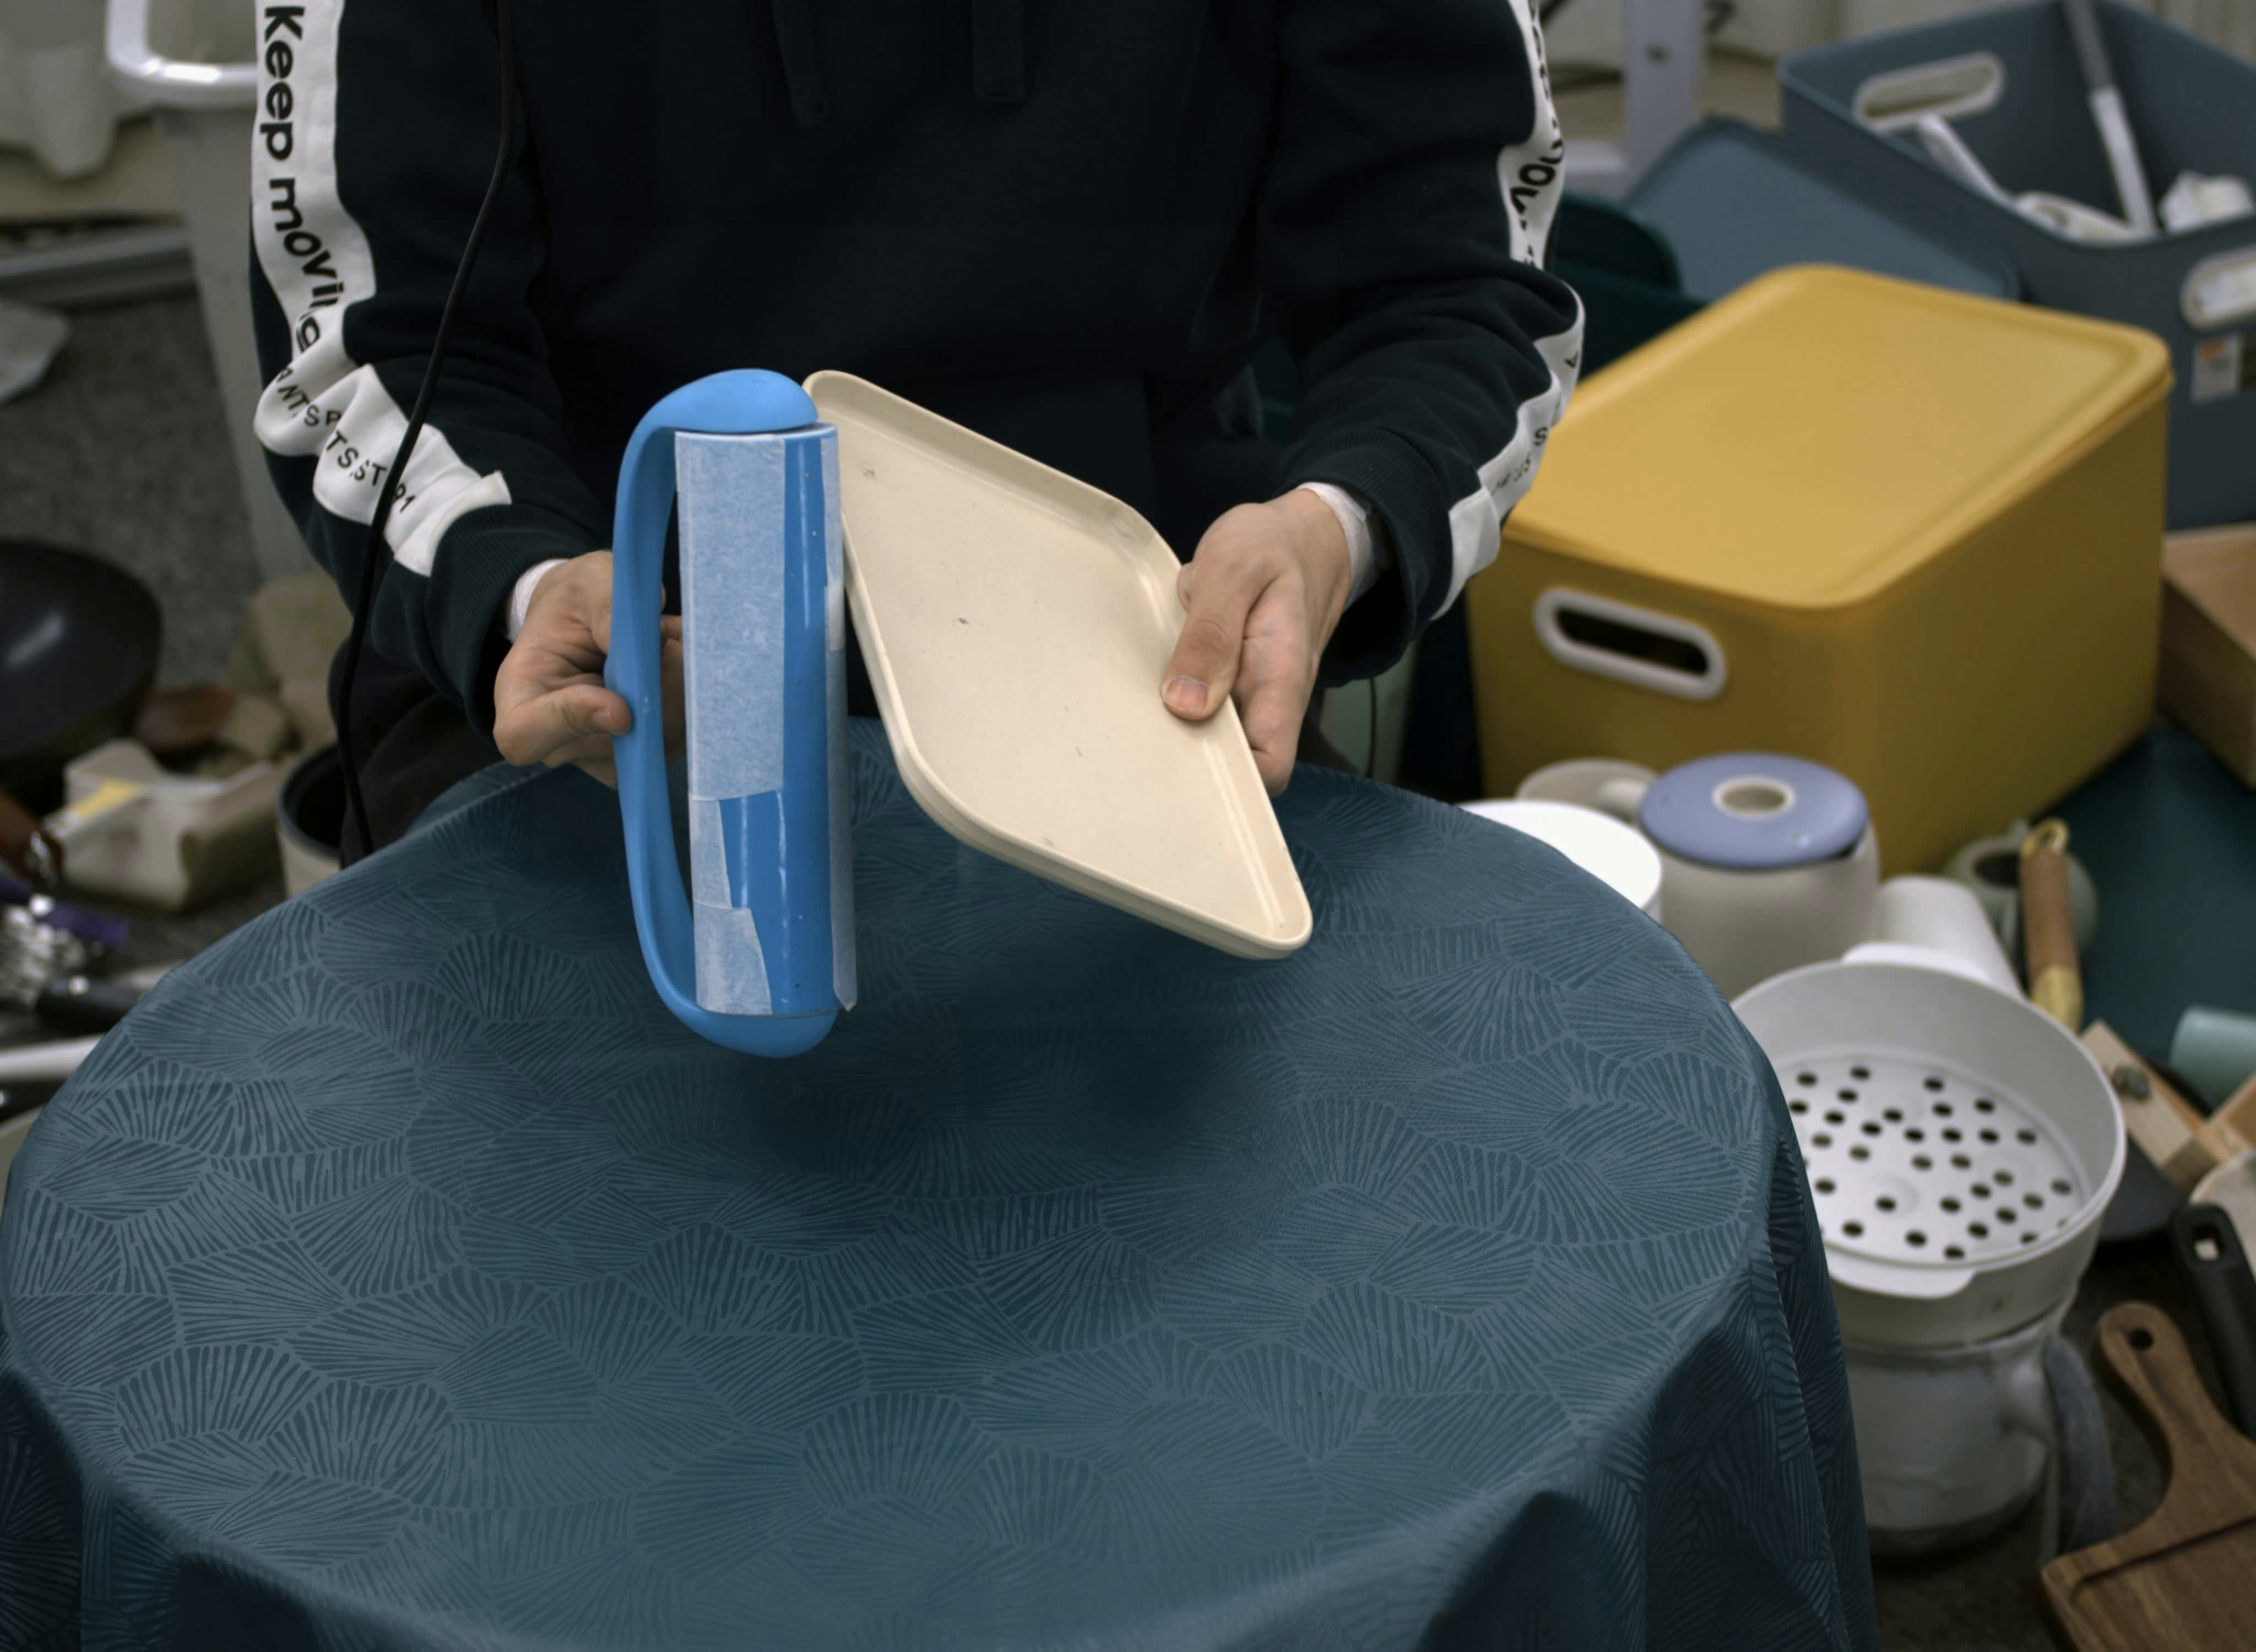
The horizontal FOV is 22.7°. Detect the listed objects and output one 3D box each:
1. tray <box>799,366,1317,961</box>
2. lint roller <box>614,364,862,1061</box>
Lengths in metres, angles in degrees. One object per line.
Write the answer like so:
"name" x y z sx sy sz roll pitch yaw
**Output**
"tray" -0.027 -0.054 1.889 0.171 0.017 0.243 24 31 -33
"lint roller" -0.143 -0.042 1.897 0.068 0.229 0.179 -6 7 -24
